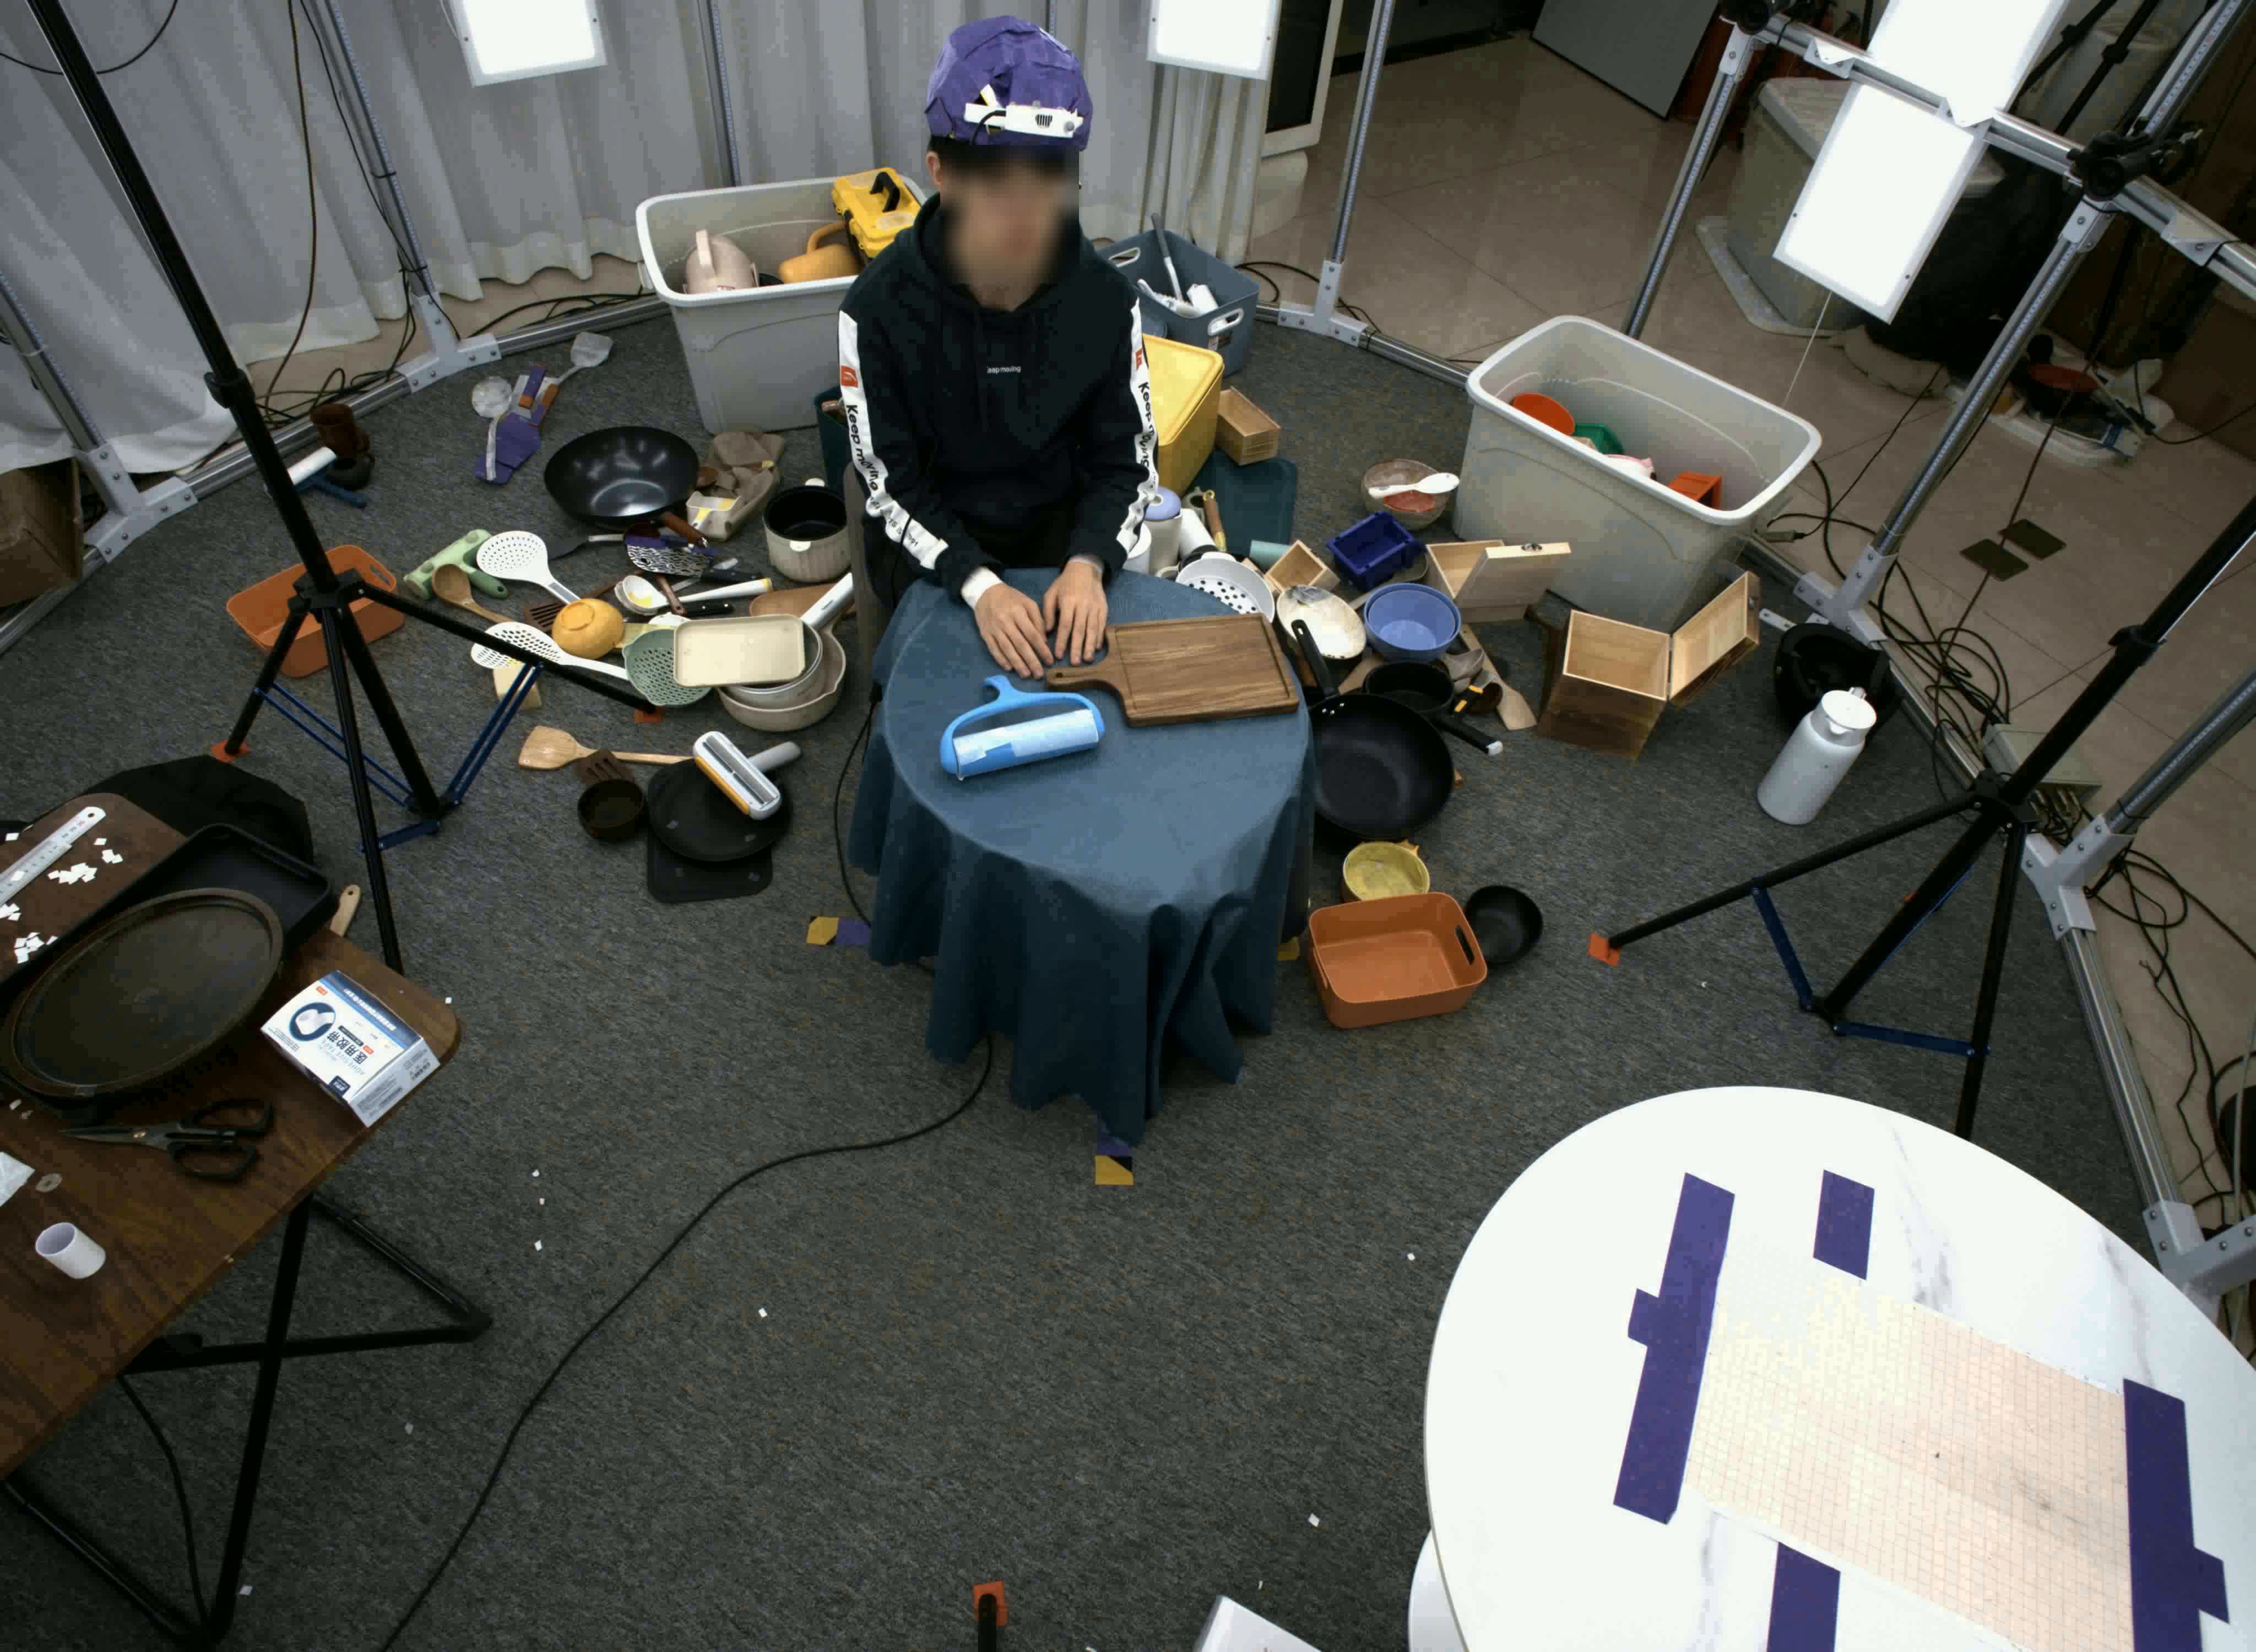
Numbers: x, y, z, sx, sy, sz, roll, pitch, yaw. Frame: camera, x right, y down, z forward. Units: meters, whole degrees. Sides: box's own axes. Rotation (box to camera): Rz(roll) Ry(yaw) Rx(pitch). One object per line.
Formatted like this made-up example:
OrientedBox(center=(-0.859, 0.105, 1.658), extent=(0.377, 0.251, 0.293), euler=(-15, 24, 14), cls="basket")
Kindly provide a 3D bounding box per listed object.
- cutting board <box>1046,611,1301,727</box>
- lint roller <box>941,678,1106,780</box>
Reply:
OrientedBox(center=(0.056, -0.225, 1.853), extent=(0.352, 0.022, 0.206), euler=(-7, 49, -9), cls="cutting board")
OrientedBox(center=(-0.161, -0.155, 1.755), extent=(0.229, 0.066, 0.184), euler=(-17, 54, -16), cls="lint roller")
